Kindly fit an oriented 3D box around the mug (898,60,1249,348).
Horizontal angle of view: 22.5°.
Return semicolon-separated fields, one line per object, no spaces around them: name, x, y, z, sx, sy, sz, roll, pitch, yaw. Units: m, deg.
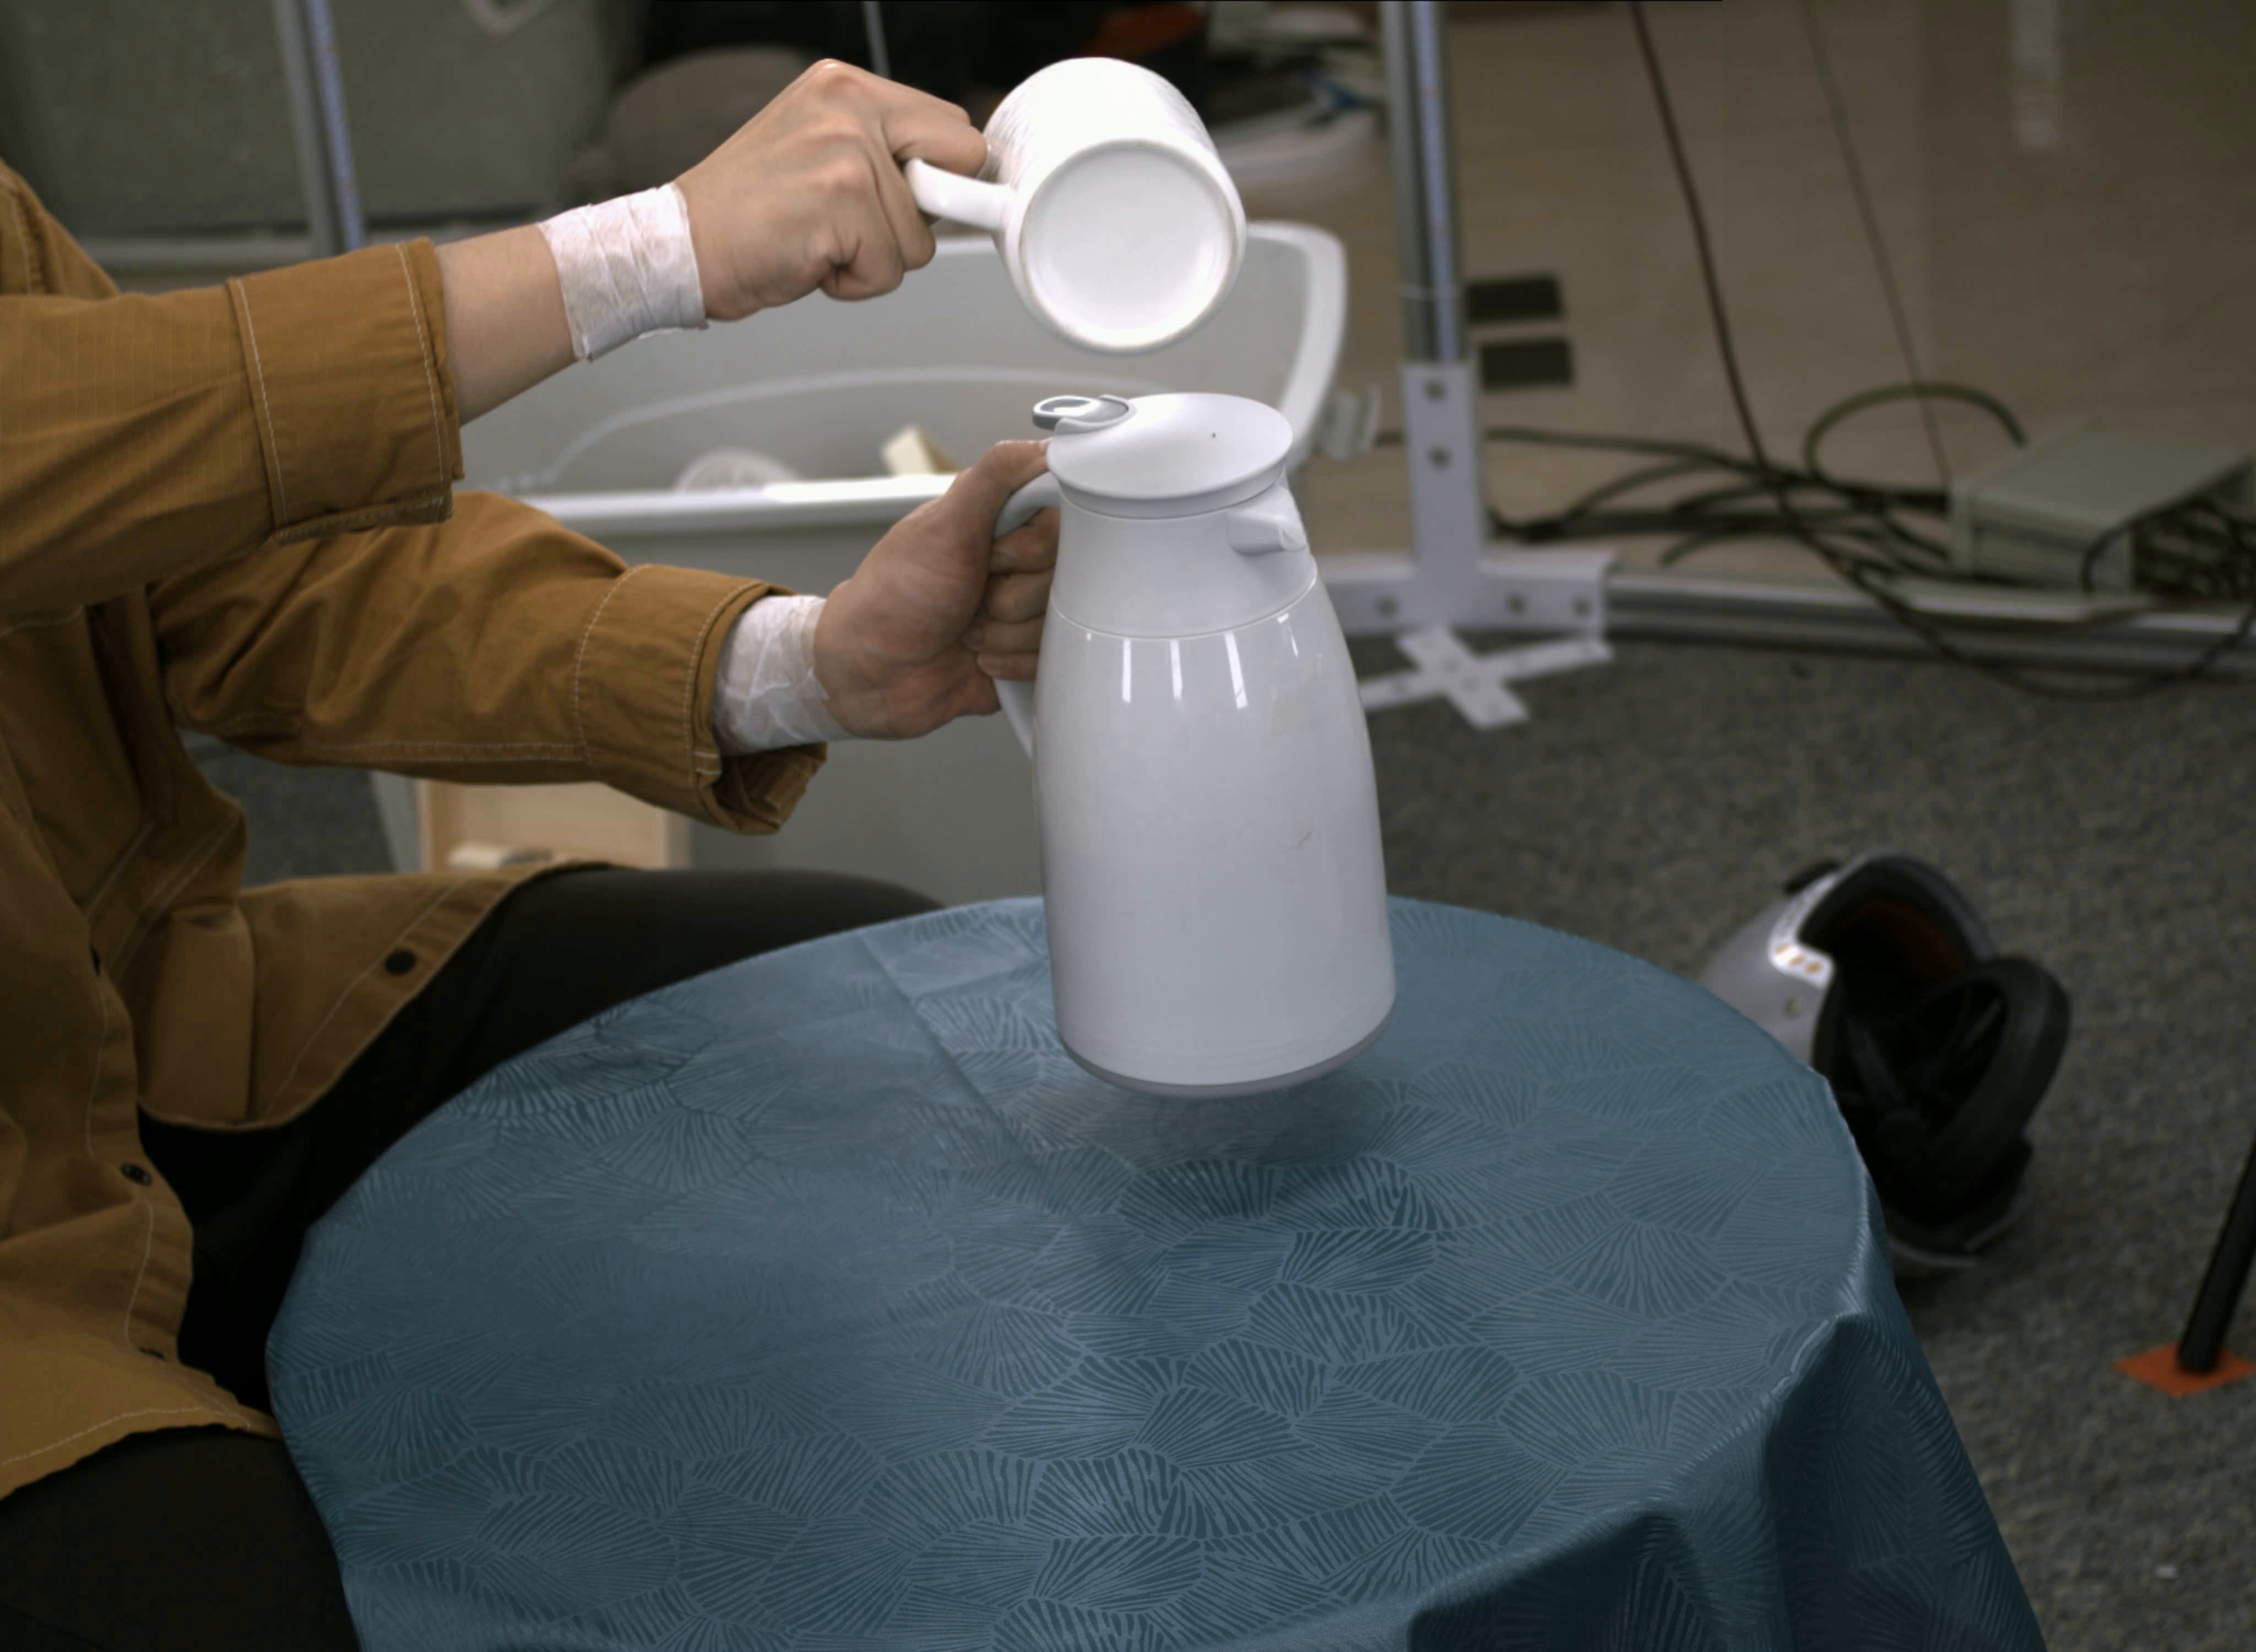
mug;-0.021;-0.220;1.972;0.118;0.086;0.101;10;17;-10

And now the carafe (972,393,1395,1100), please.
carafe;0.011;-0.041;2.129;0.166;0.253;0.131;18;38;38
